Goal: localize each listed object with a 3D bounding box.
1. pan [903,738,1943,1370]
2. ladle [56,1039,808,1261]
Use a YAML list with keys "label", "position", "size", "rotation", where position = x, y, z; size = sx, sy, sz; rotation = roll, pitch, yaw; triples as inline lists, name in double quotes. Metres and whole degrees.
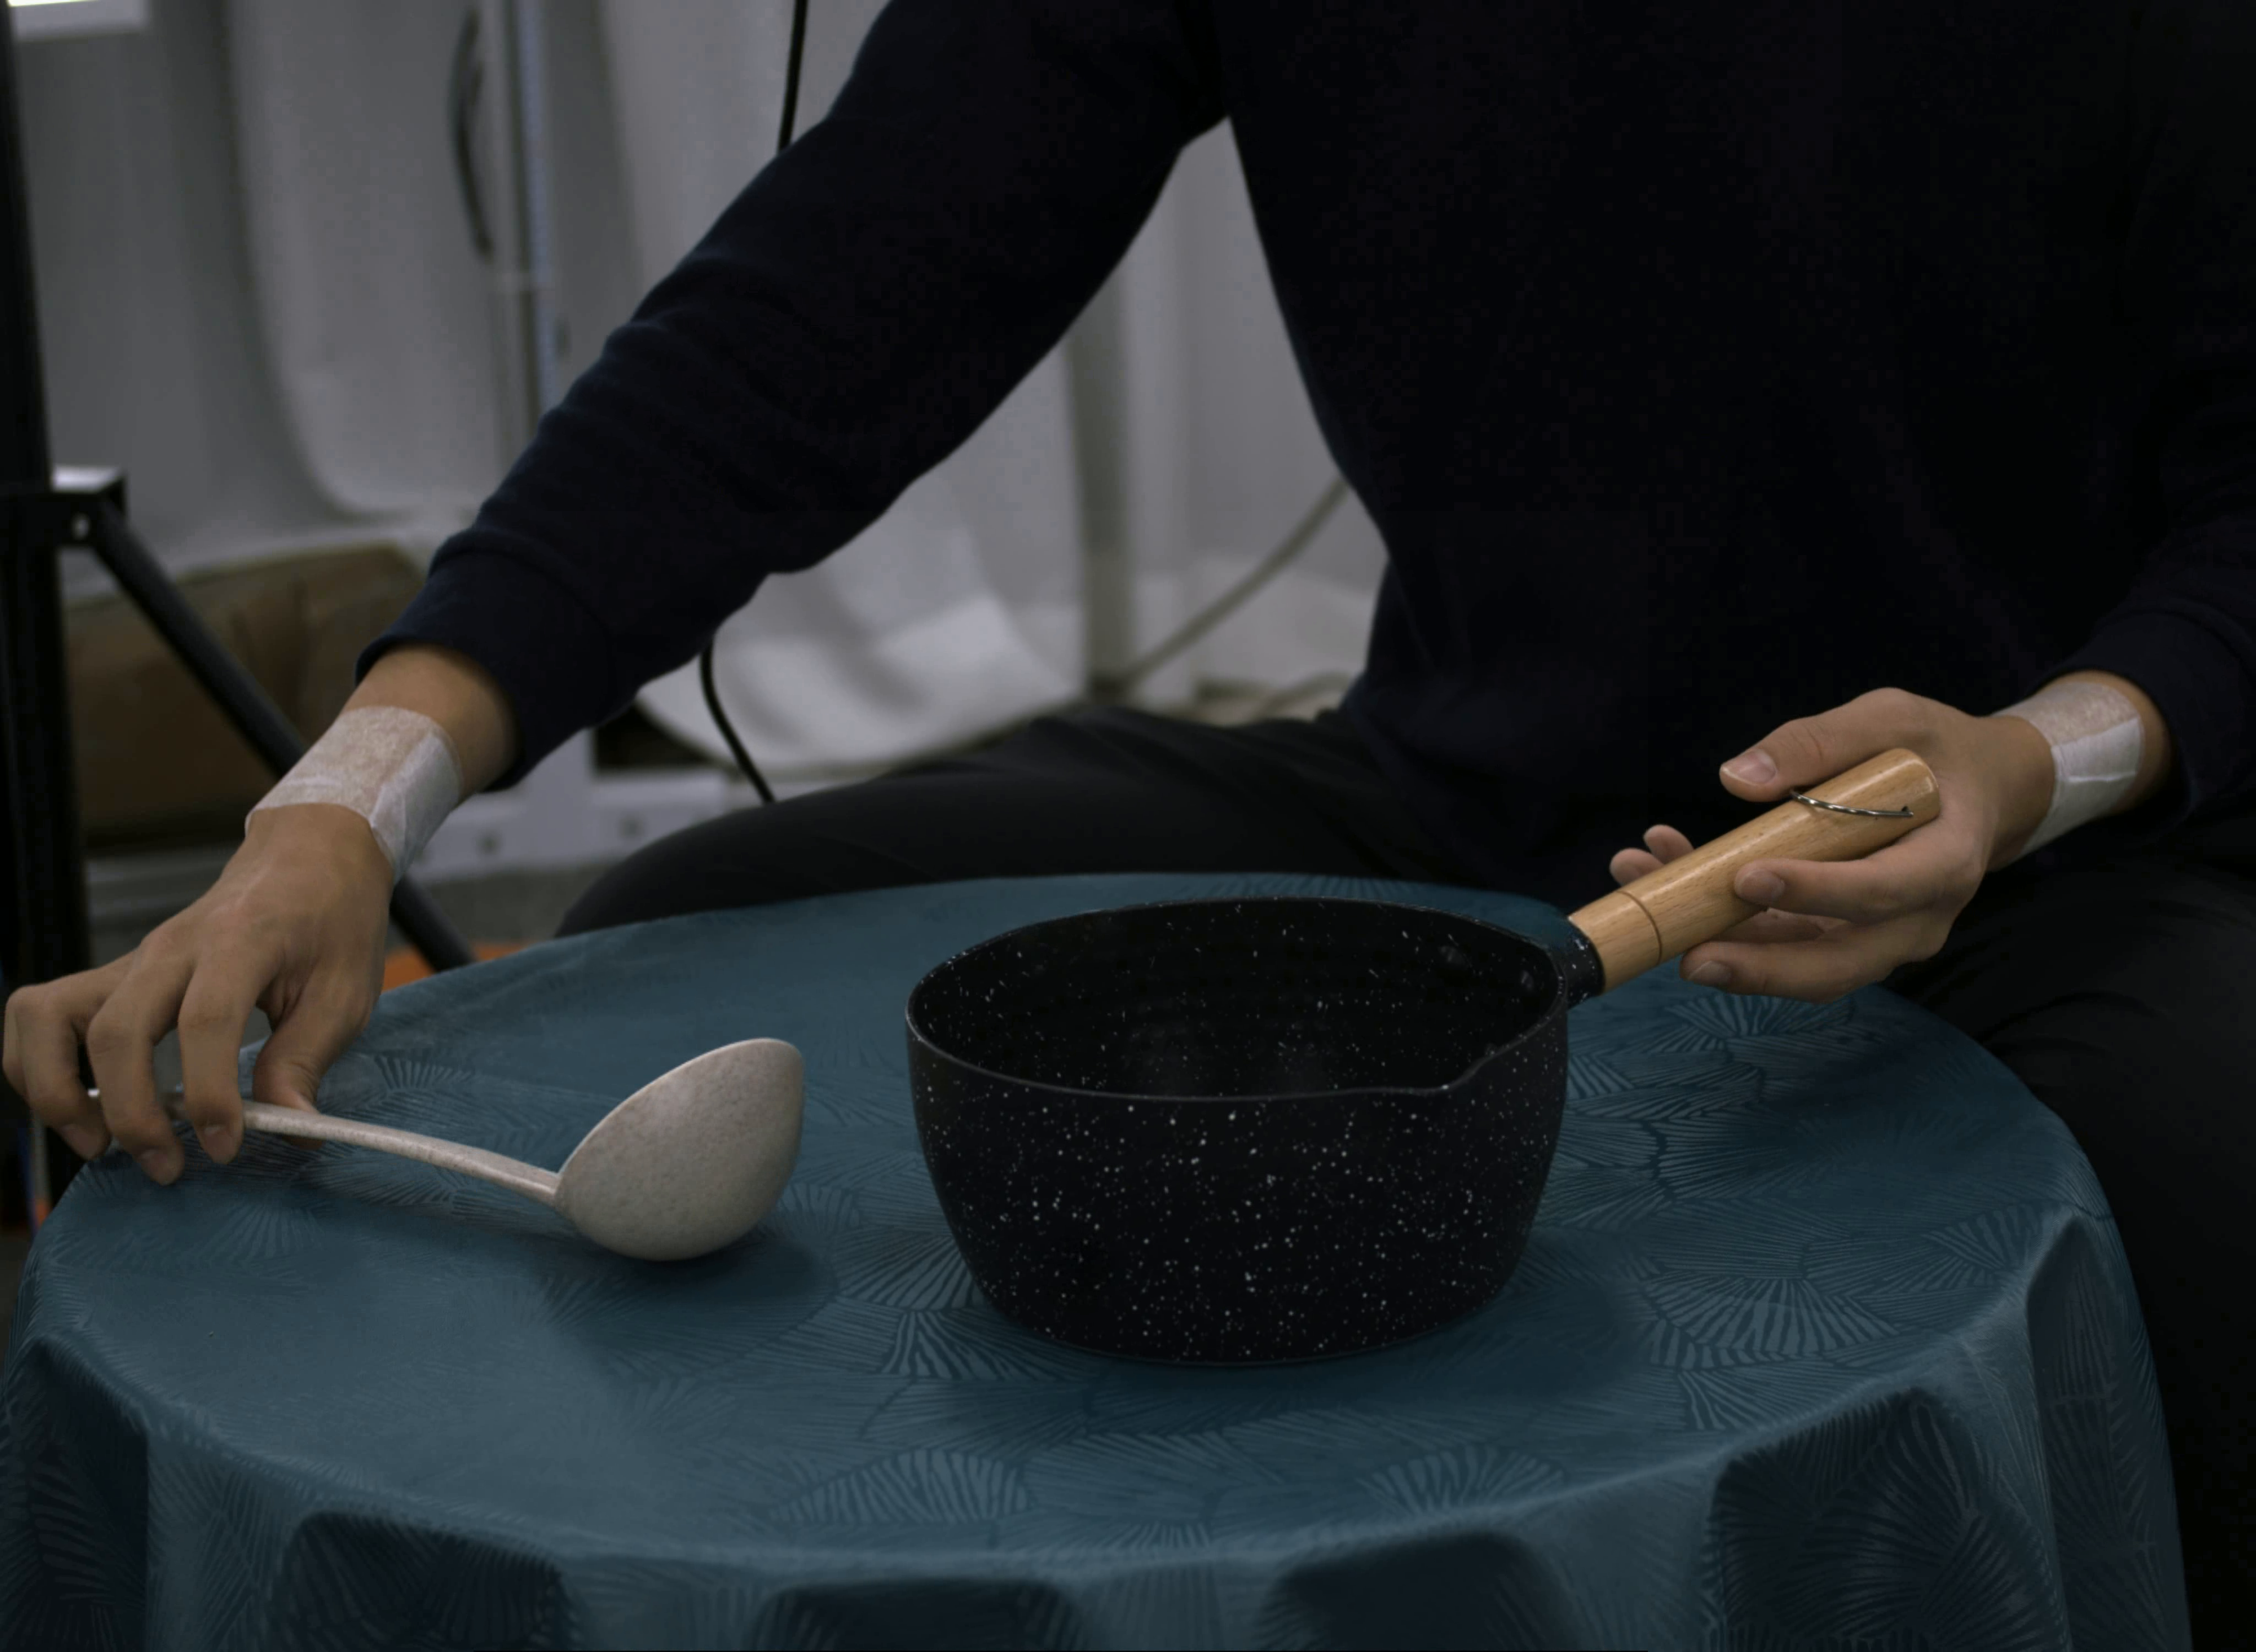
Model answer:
- label: "pan"
  position: [0.097, 0.060, 1.513]
  size: [0.335, 0.108, 0.212]
  rotation: [-14, 18, -30]
- label: "ladle"
  position: [-0.214, 0.075, 1.579]
  size: [0.280, 0.069, 0.087]
  rotation: [10, 8, 35]
